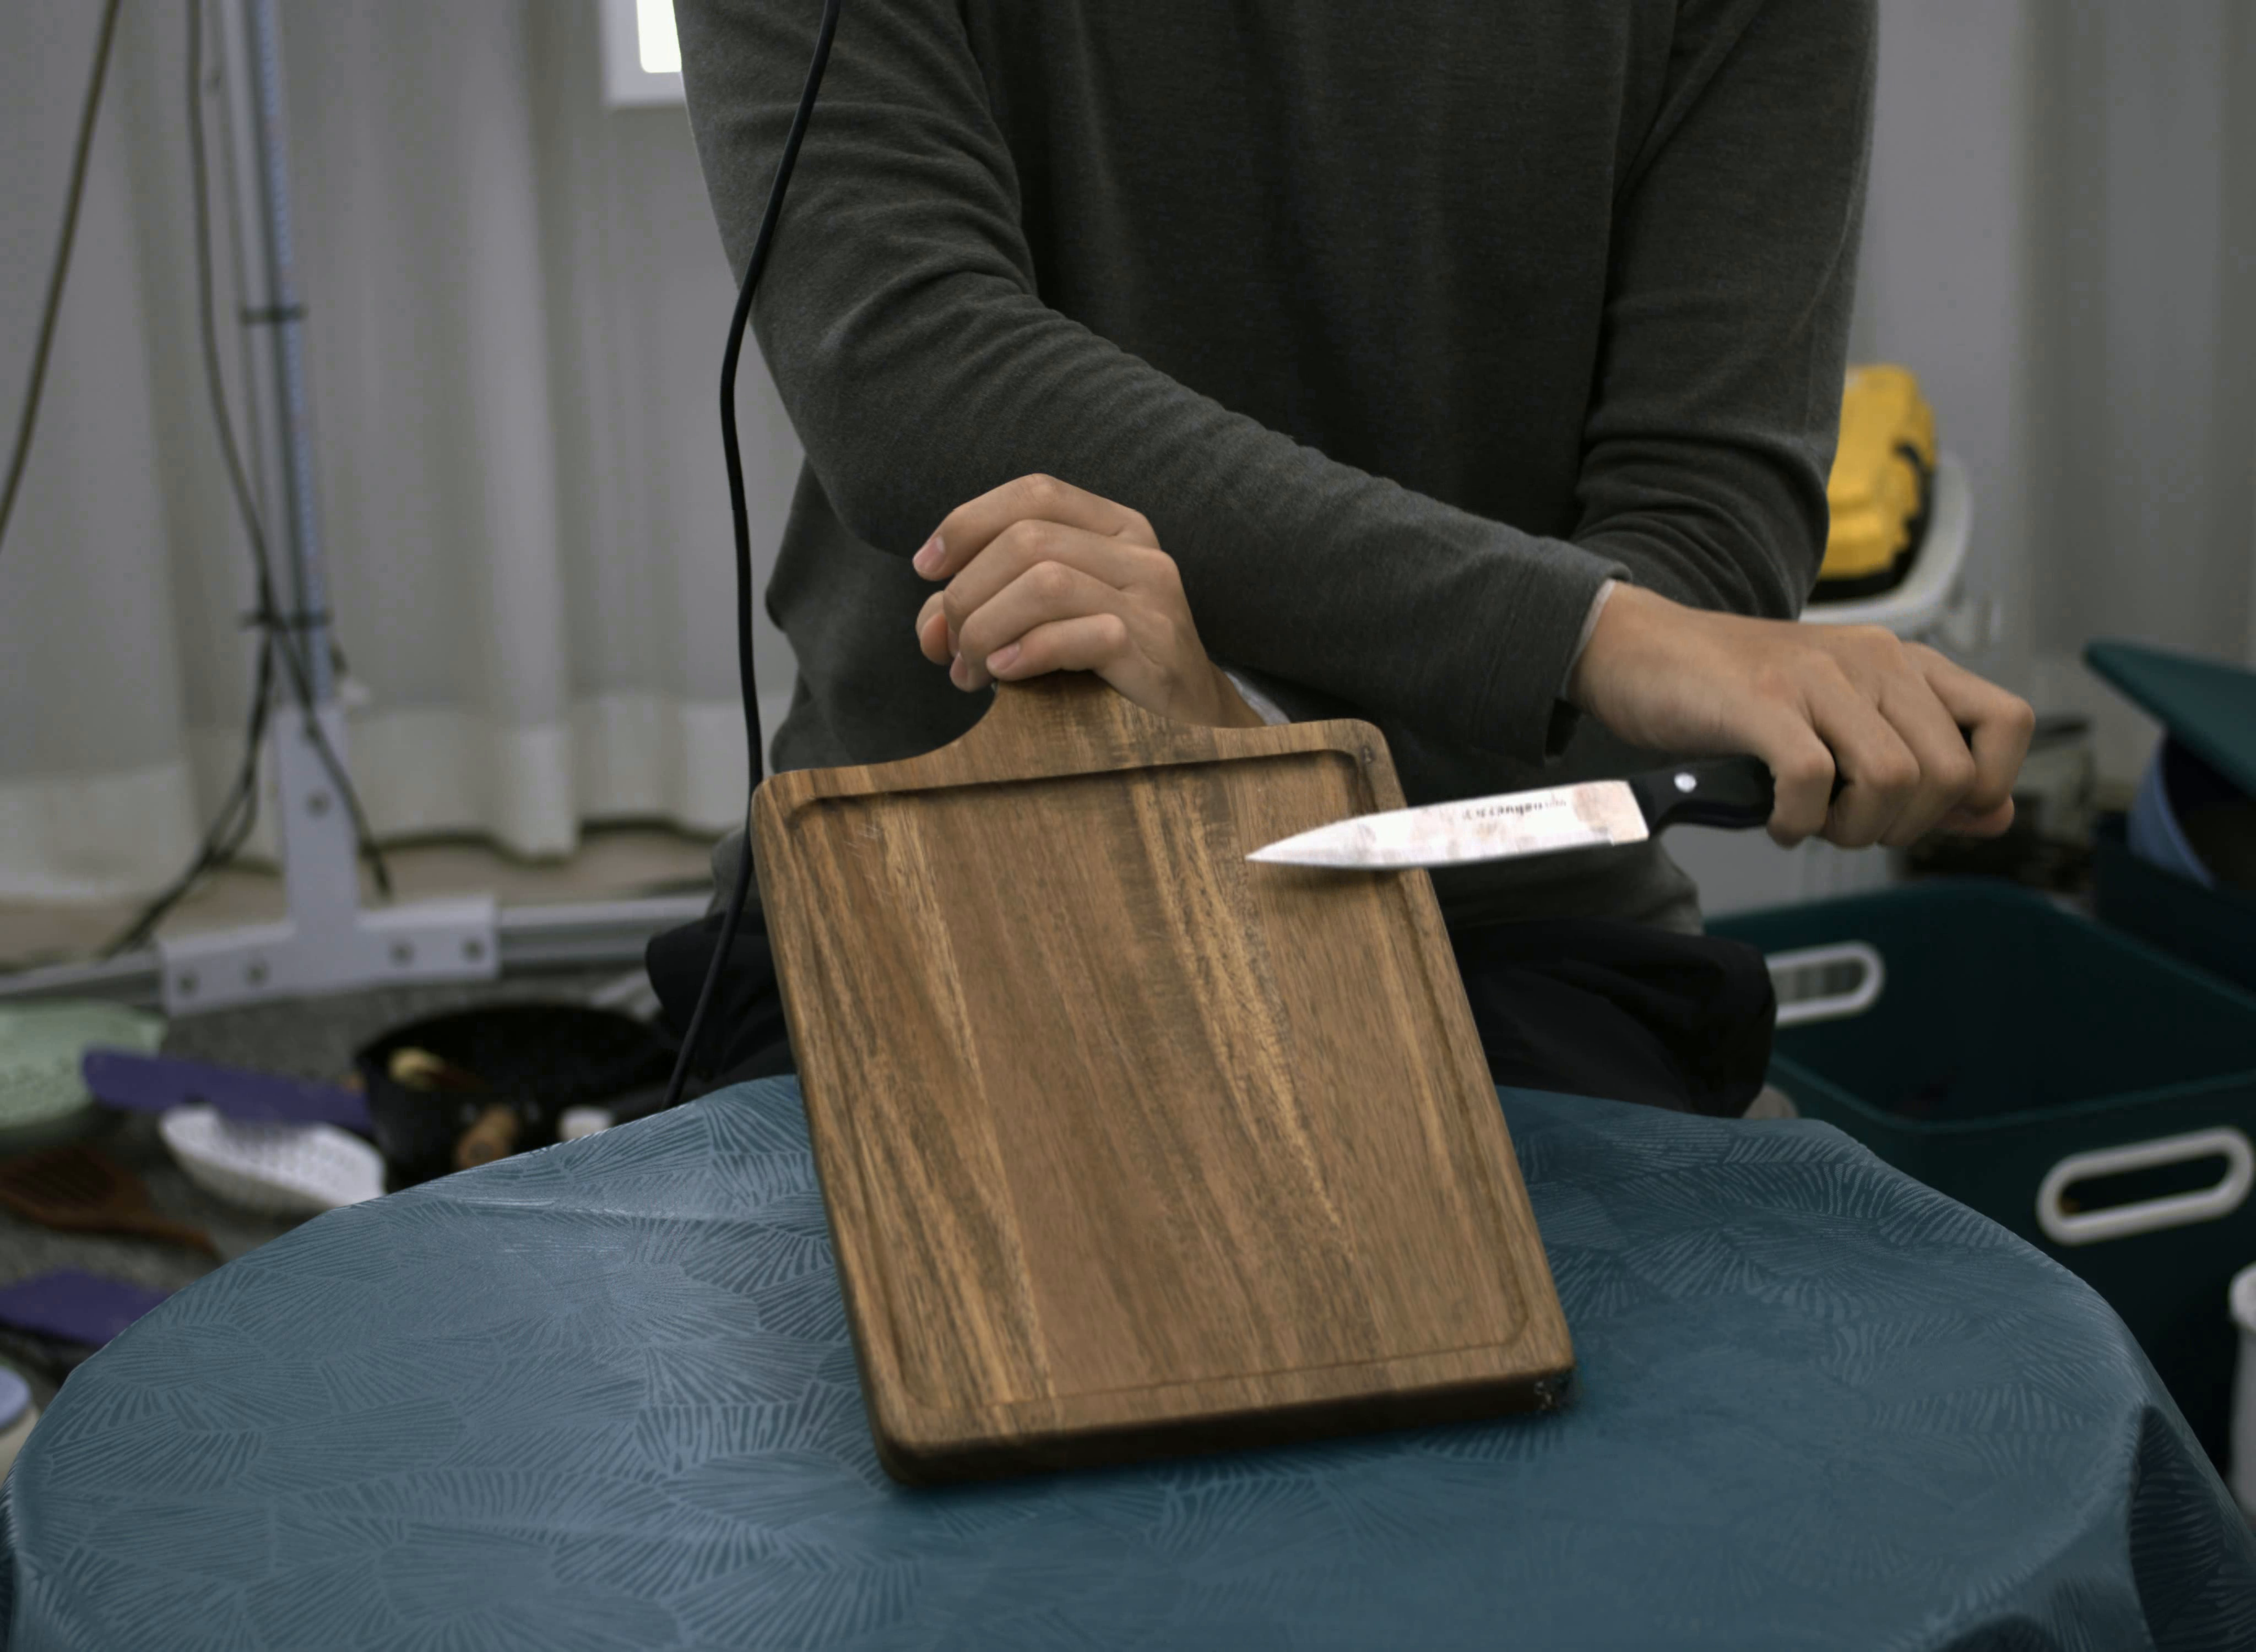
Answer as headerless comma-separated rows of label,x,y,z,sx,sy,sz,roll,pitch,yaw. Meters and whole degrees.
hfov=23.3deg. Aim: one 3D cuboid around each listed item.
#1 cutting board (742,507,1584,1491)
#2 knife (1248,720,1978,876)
cutting board,-0.004,0.036,1.607,0.200,0.023,0.358,-6,48,-11
knife,0.146,-0.007,1.650,0.237,0.016,0.025,-9,53,-17
